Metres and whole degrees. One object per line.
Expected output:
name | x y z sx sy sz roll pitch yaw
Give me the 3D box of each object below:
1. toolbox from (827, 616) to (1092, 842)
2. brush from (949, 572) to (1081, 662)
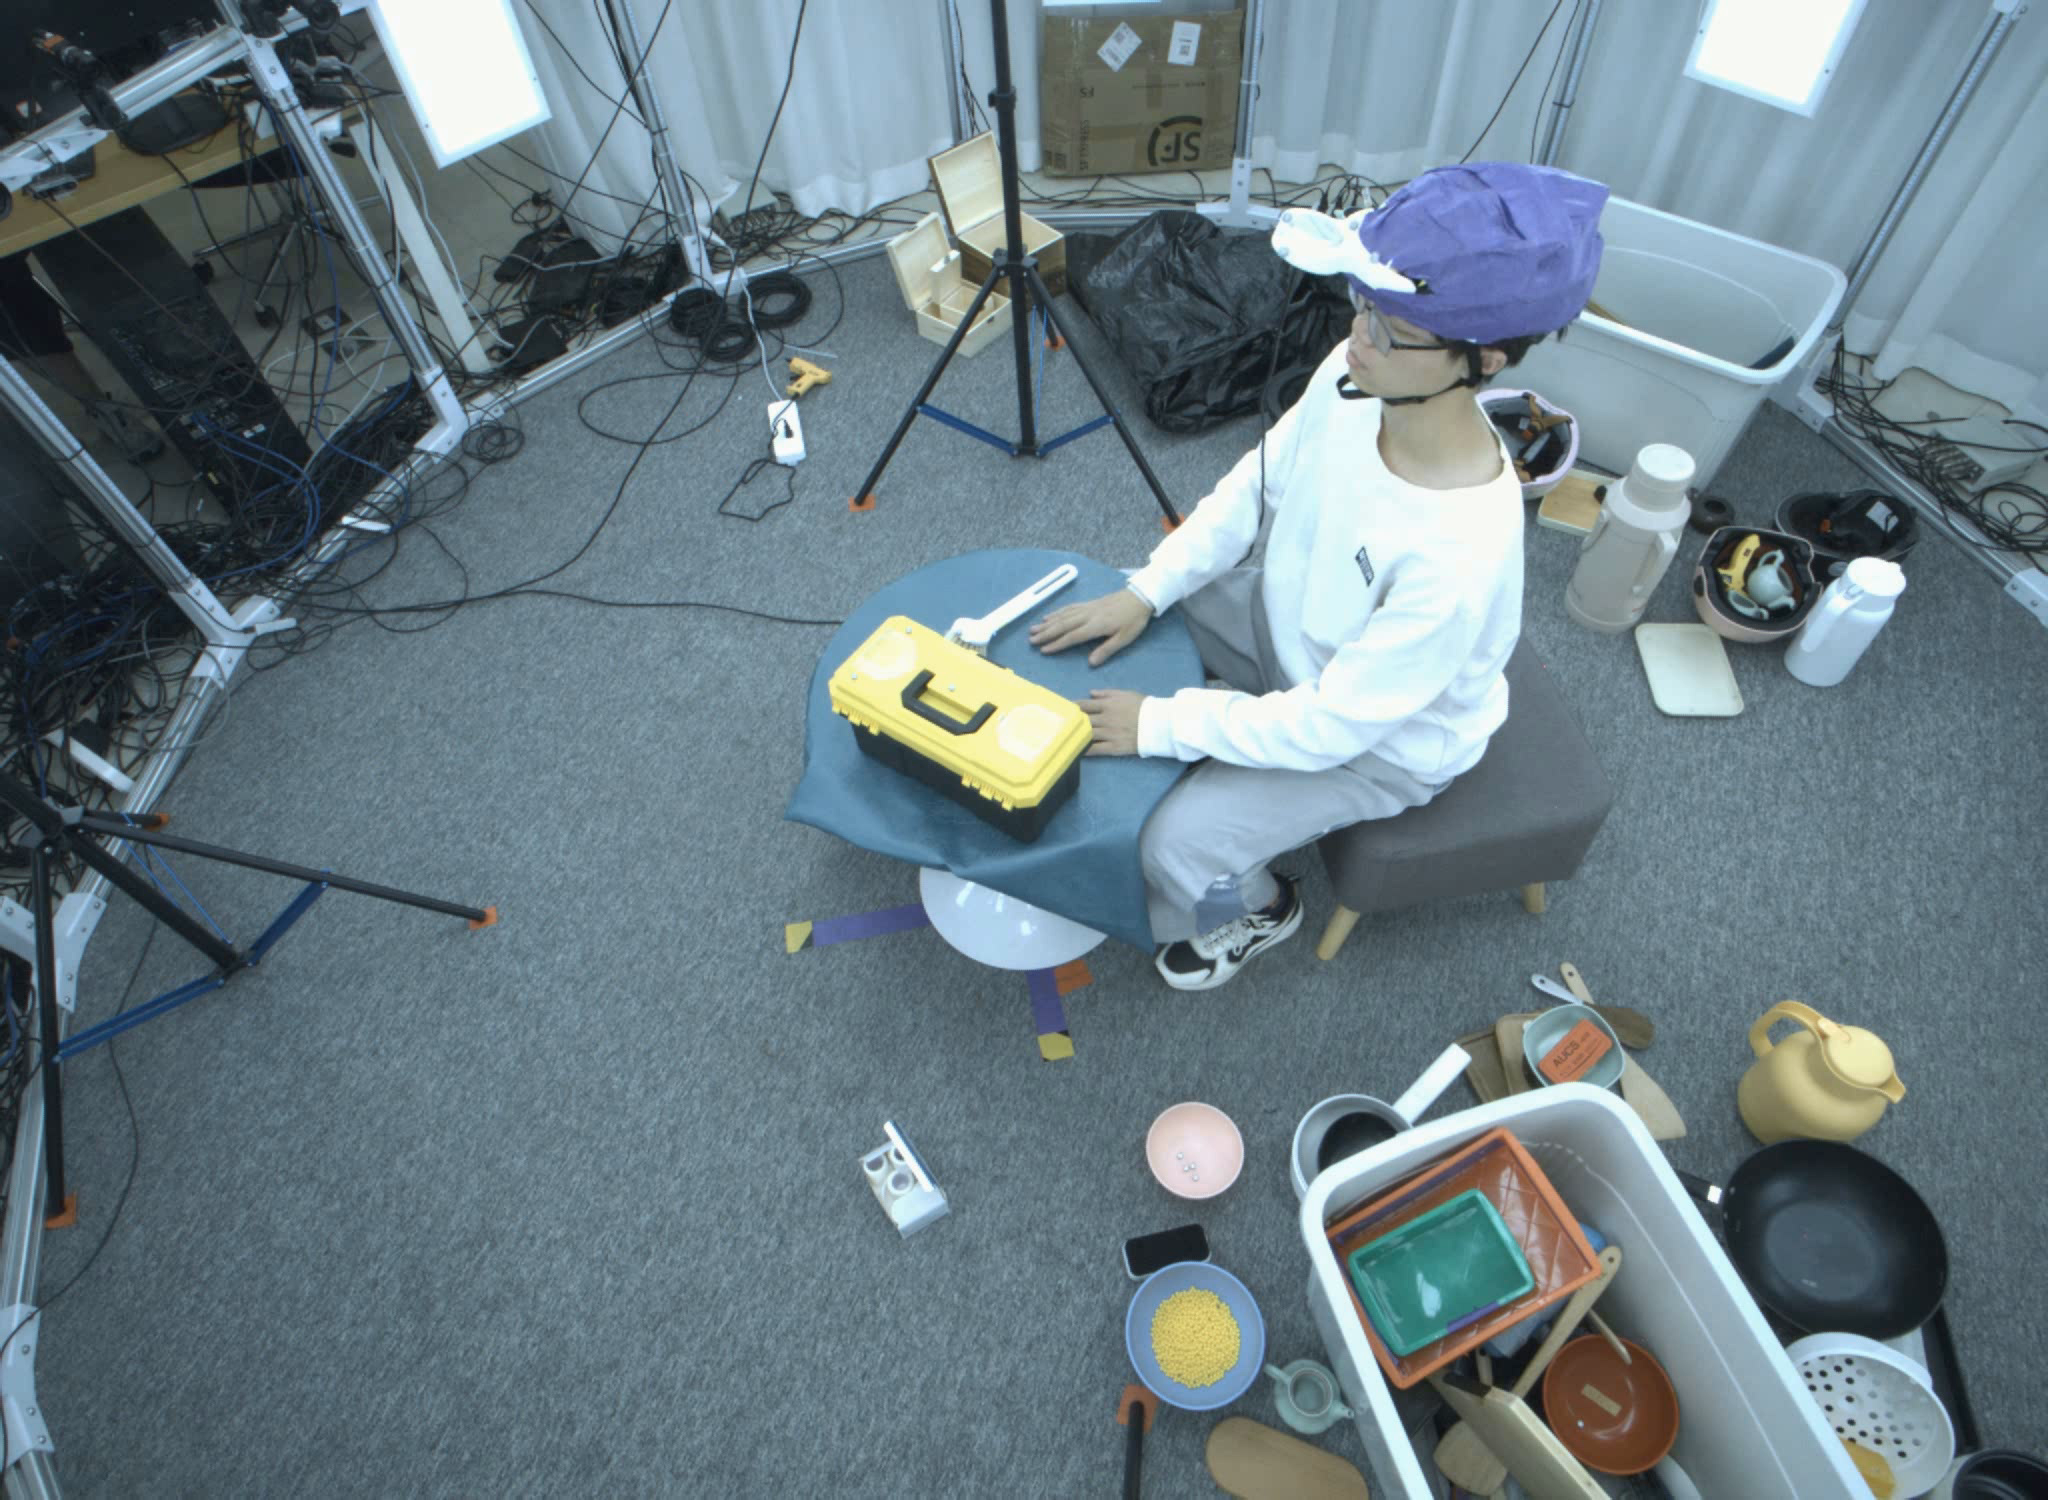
toolbox | -0.087 -0.030 1.701 0.346 0.174 0.182 29 62 20
brush | -0.011 -0.212 1.929 0.270 0.056 0.068 -32 77 -37
